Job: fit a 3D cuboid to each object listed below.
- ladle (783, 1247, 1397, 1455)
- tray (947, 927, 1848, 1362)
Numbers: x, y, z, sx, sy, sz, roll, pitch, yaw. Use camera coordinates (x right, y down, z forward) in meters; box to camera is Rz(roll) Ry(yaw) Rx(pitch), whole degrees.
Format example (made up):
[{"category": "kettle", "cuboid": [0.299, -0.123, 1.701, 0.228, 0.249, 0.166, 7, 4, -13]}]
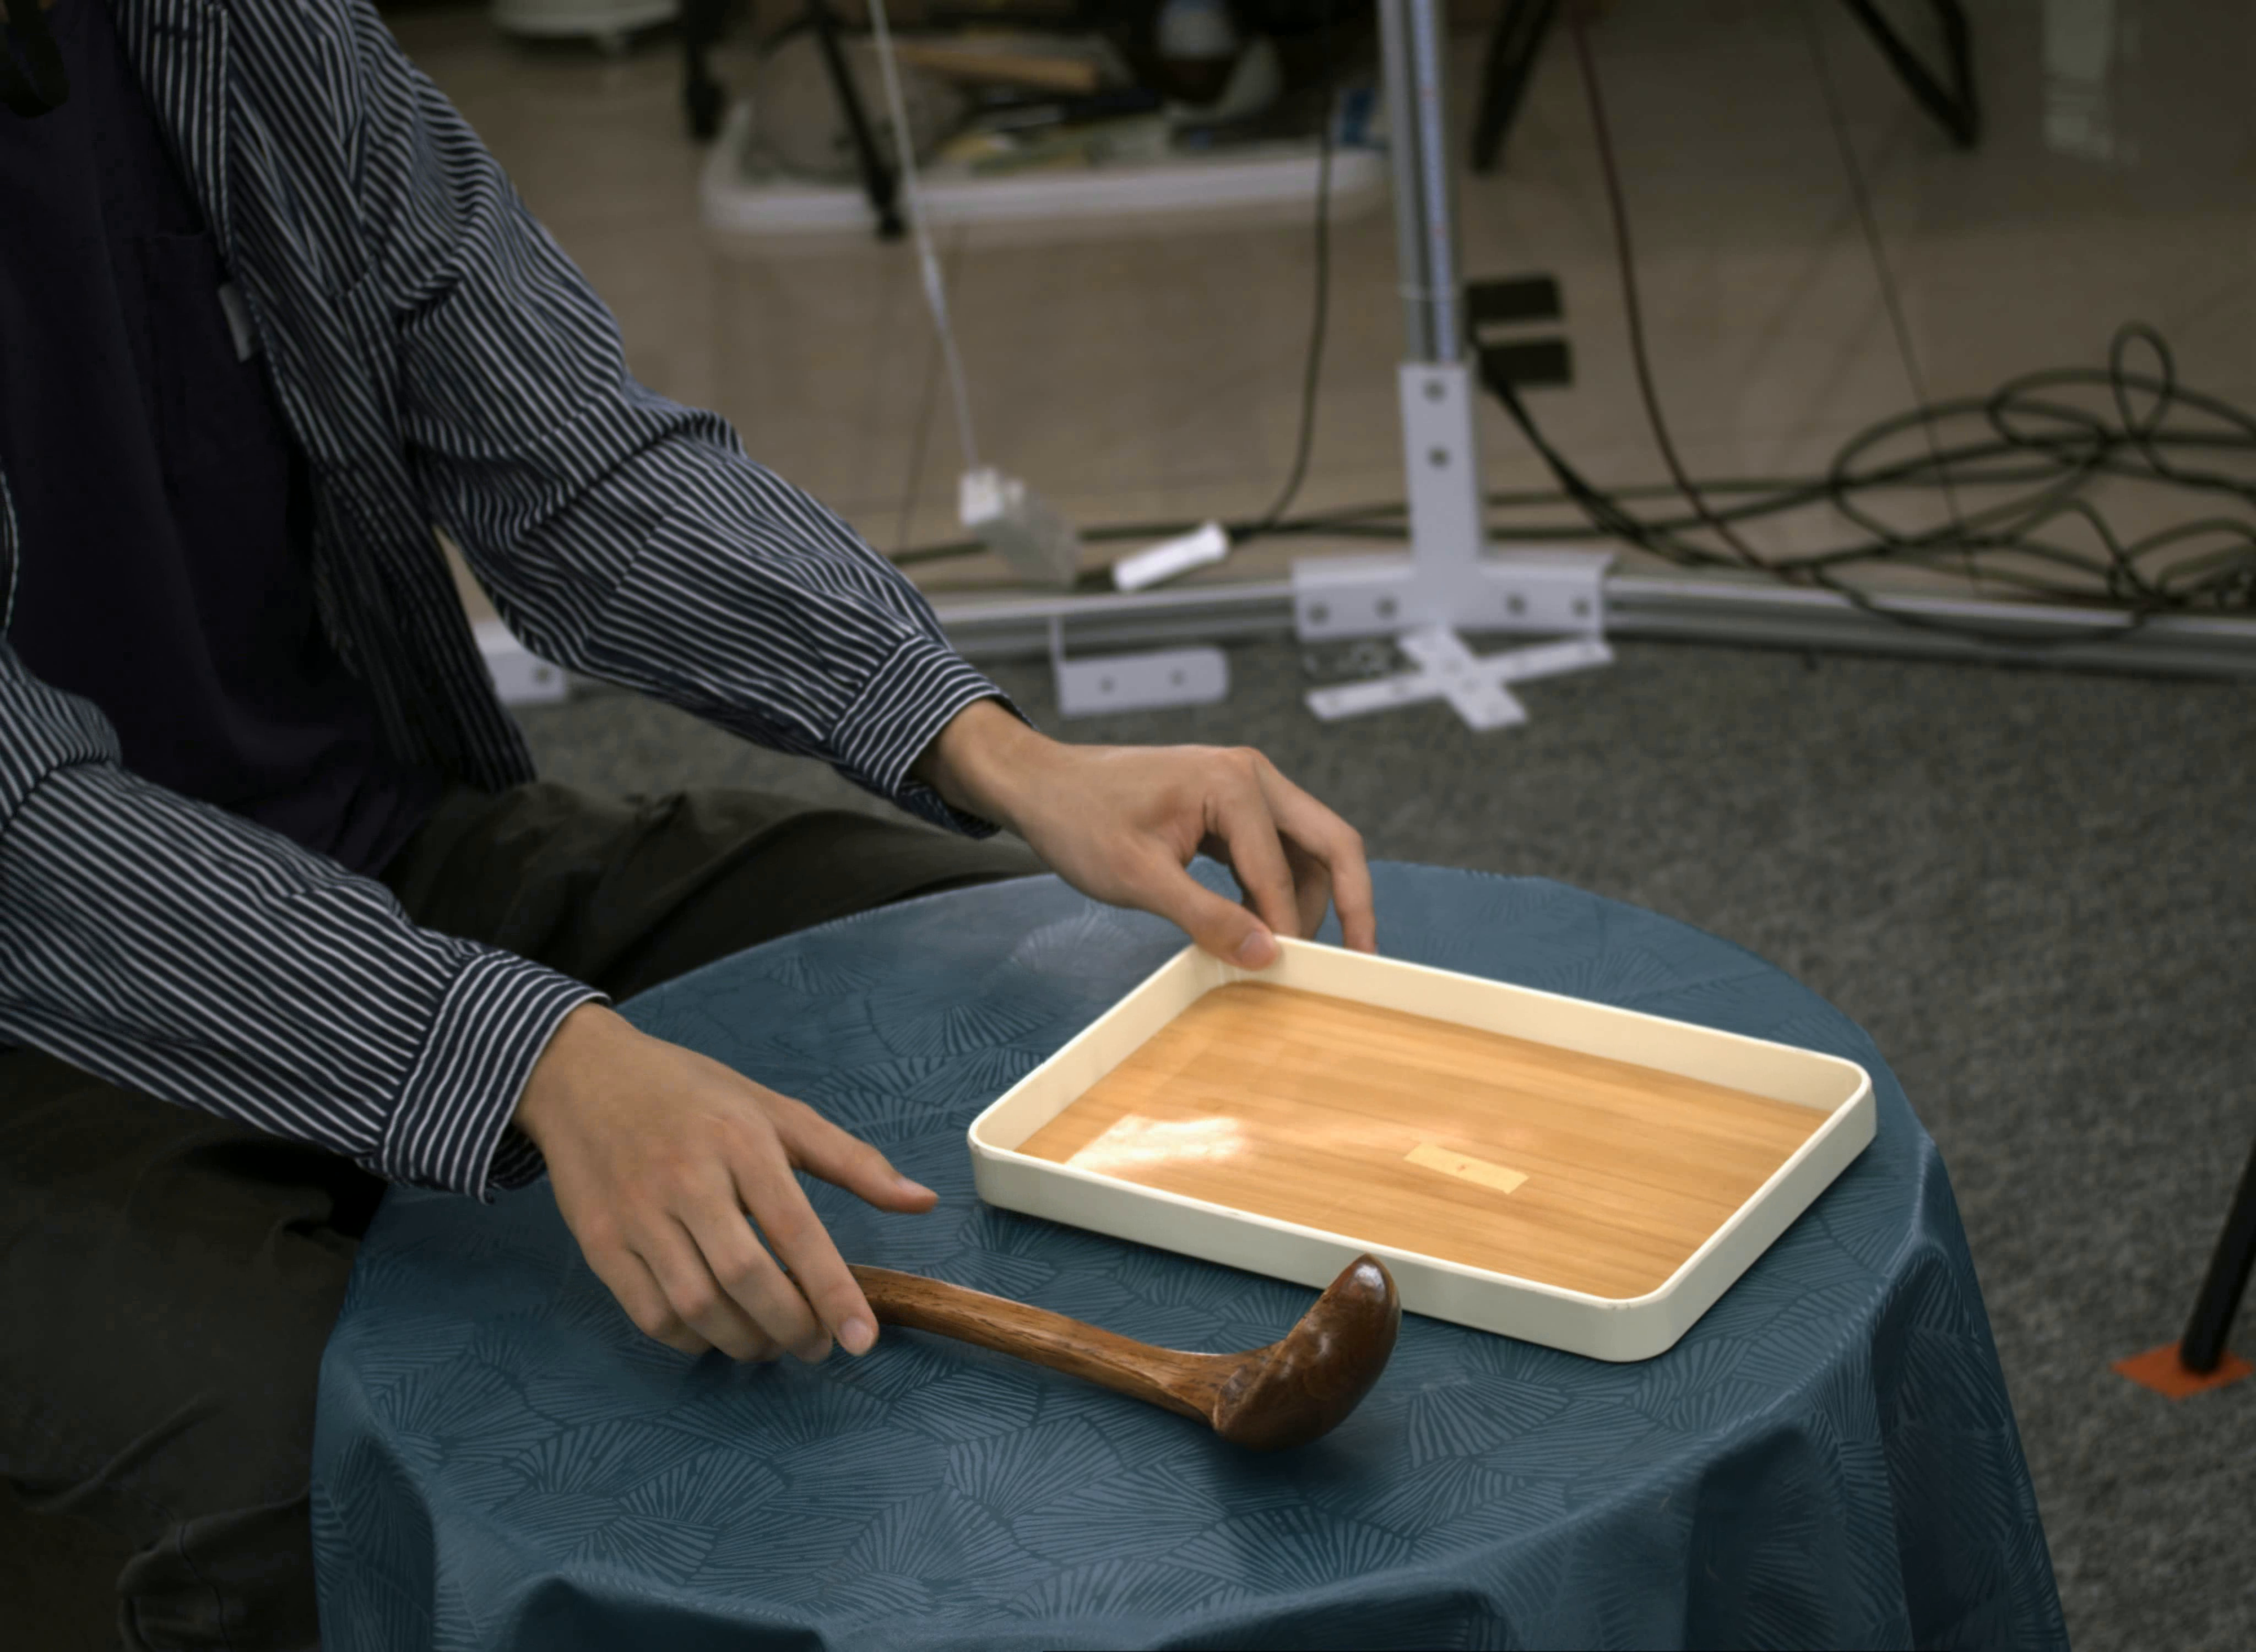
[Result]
[{"category": "ladle", "cuboid": [-0.023, 0.165, 2.012, 0.272, 0.078, 0.081, 14, 36, 36]}, {"category": "tray", "cuboid": [0.101, 0.115, 2.136, 0.298, 0.028, 0.189, 12, 33, 33]}]
